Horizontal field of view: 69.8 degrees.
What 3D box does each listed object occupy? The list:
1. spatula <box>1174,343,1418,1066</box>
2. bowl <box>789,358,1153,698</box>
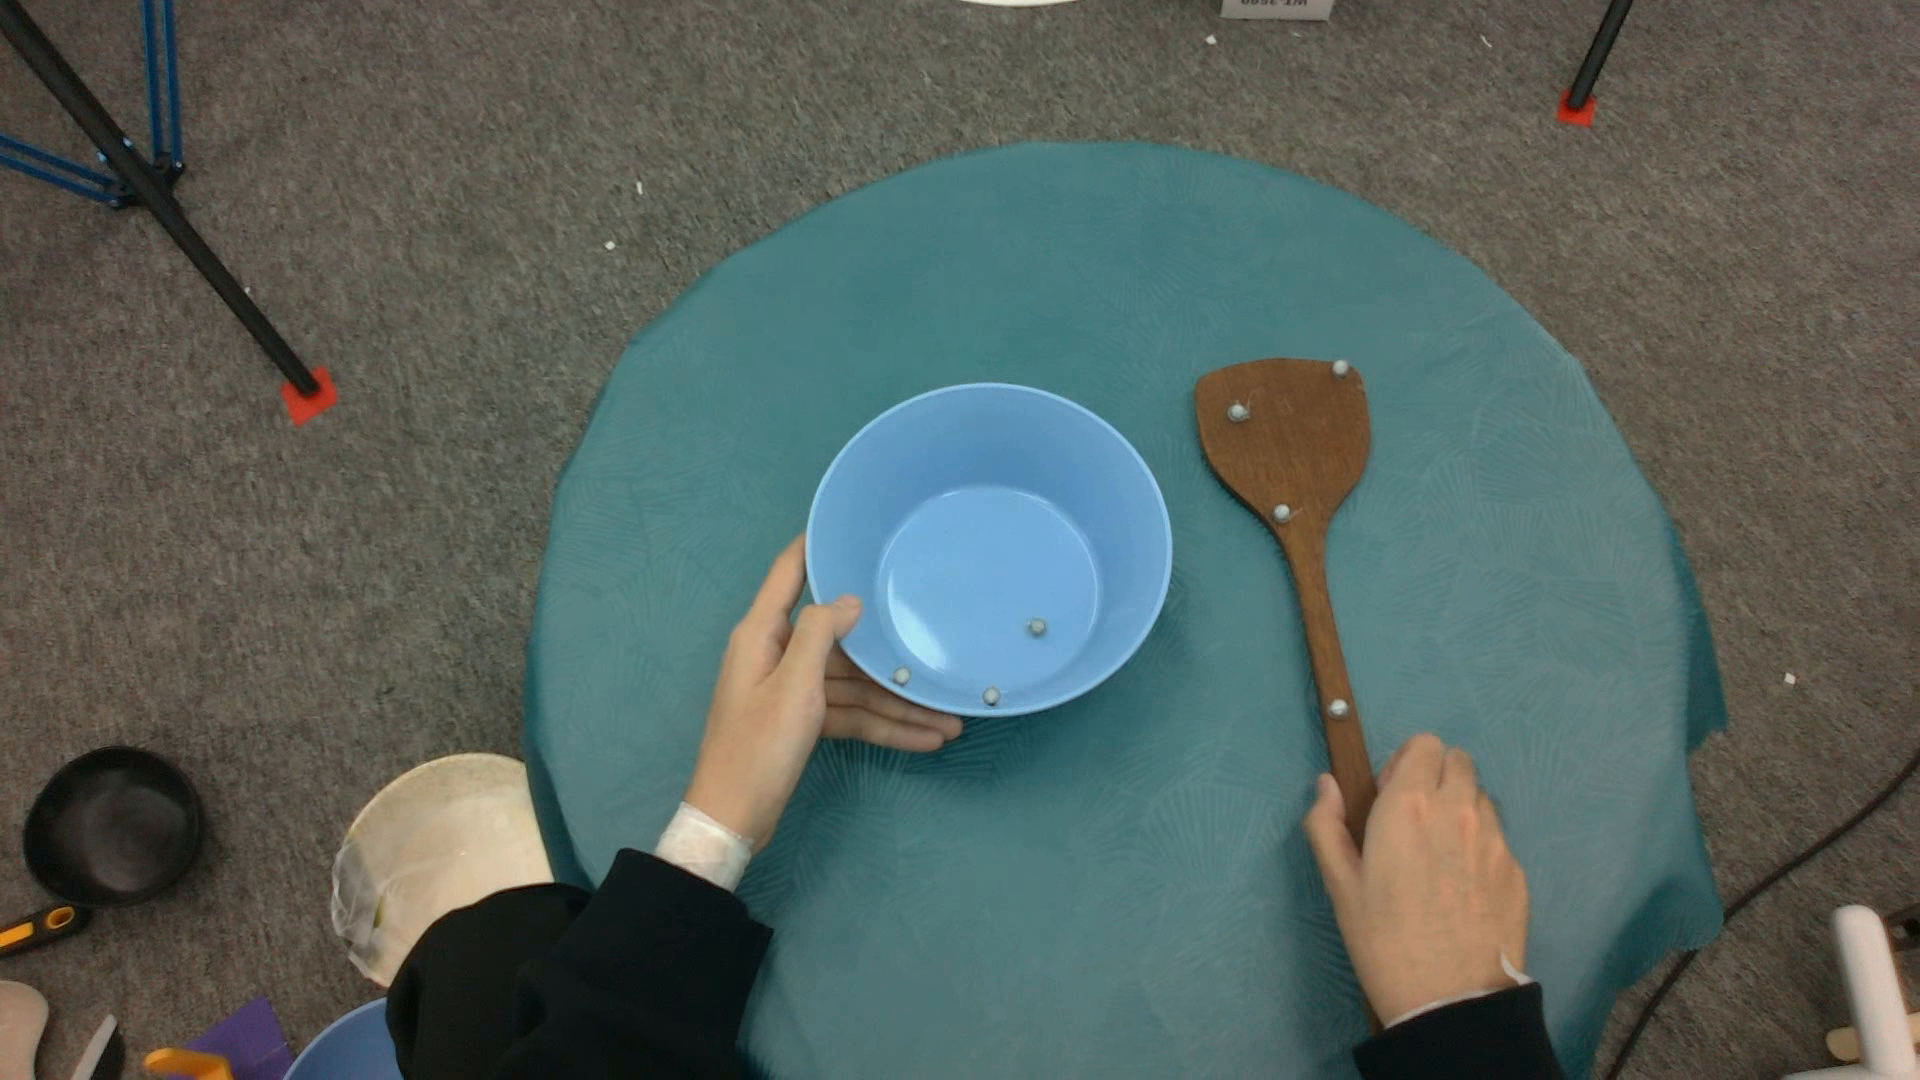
[{"bbox_3d":[0.176,0.058,0.687,0.096,0.016,0.387,-4,60,0],"label":"spatula"},{"bbox_3d":[0.006,0.001,0.689,0.176,0.070,0.176,0,68,0],"label":"bowl"}]
